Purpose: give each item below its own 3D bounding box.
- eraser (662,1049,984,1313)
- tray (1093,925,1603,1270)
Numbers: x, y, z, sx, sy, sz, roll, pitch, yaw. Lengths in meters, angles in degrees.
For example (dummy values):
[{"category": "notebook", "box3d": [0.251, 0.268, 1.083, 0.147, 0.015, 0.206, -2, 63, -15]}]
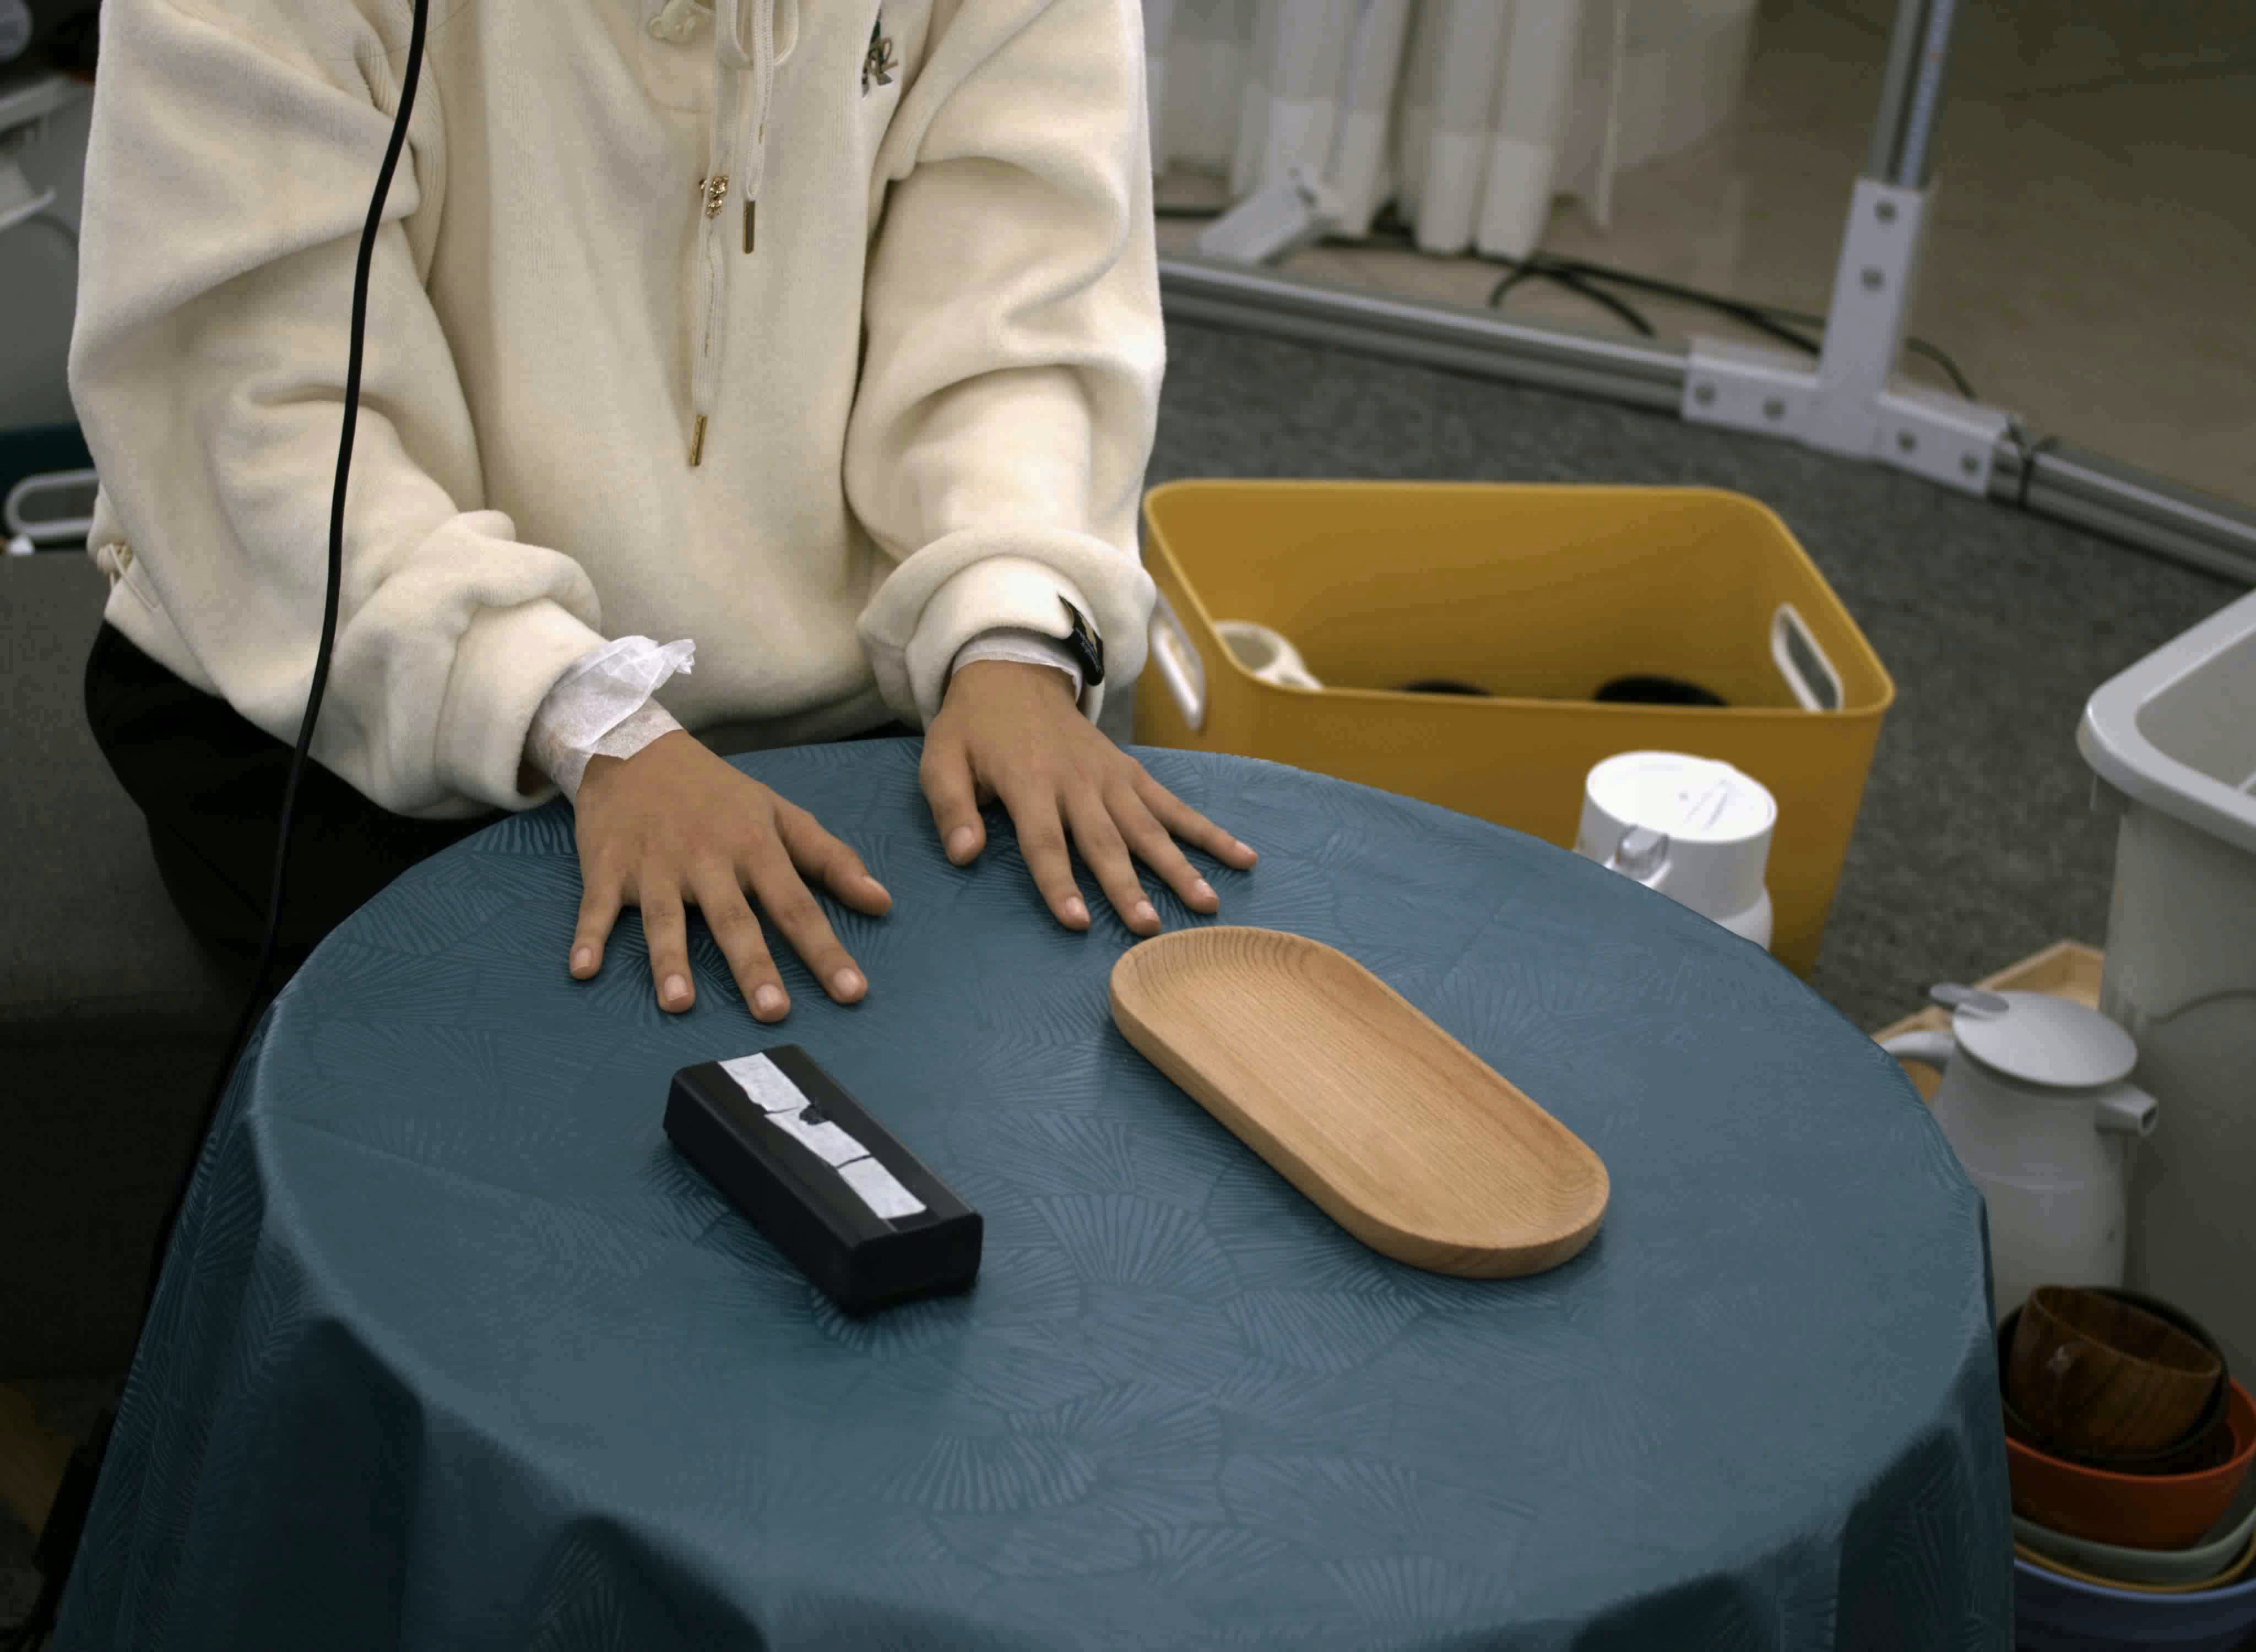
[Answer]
[{"category": "eraser", "box3d": [-0.102, 0.117, 1.761, 0.053, 0.030, 0.126, -6, 30, -35]}, {"category": "tray", "box3d": [0.074, 0.093, 1.861, 0.101, 0.020, 0.233, -12, 30, -33]}]
